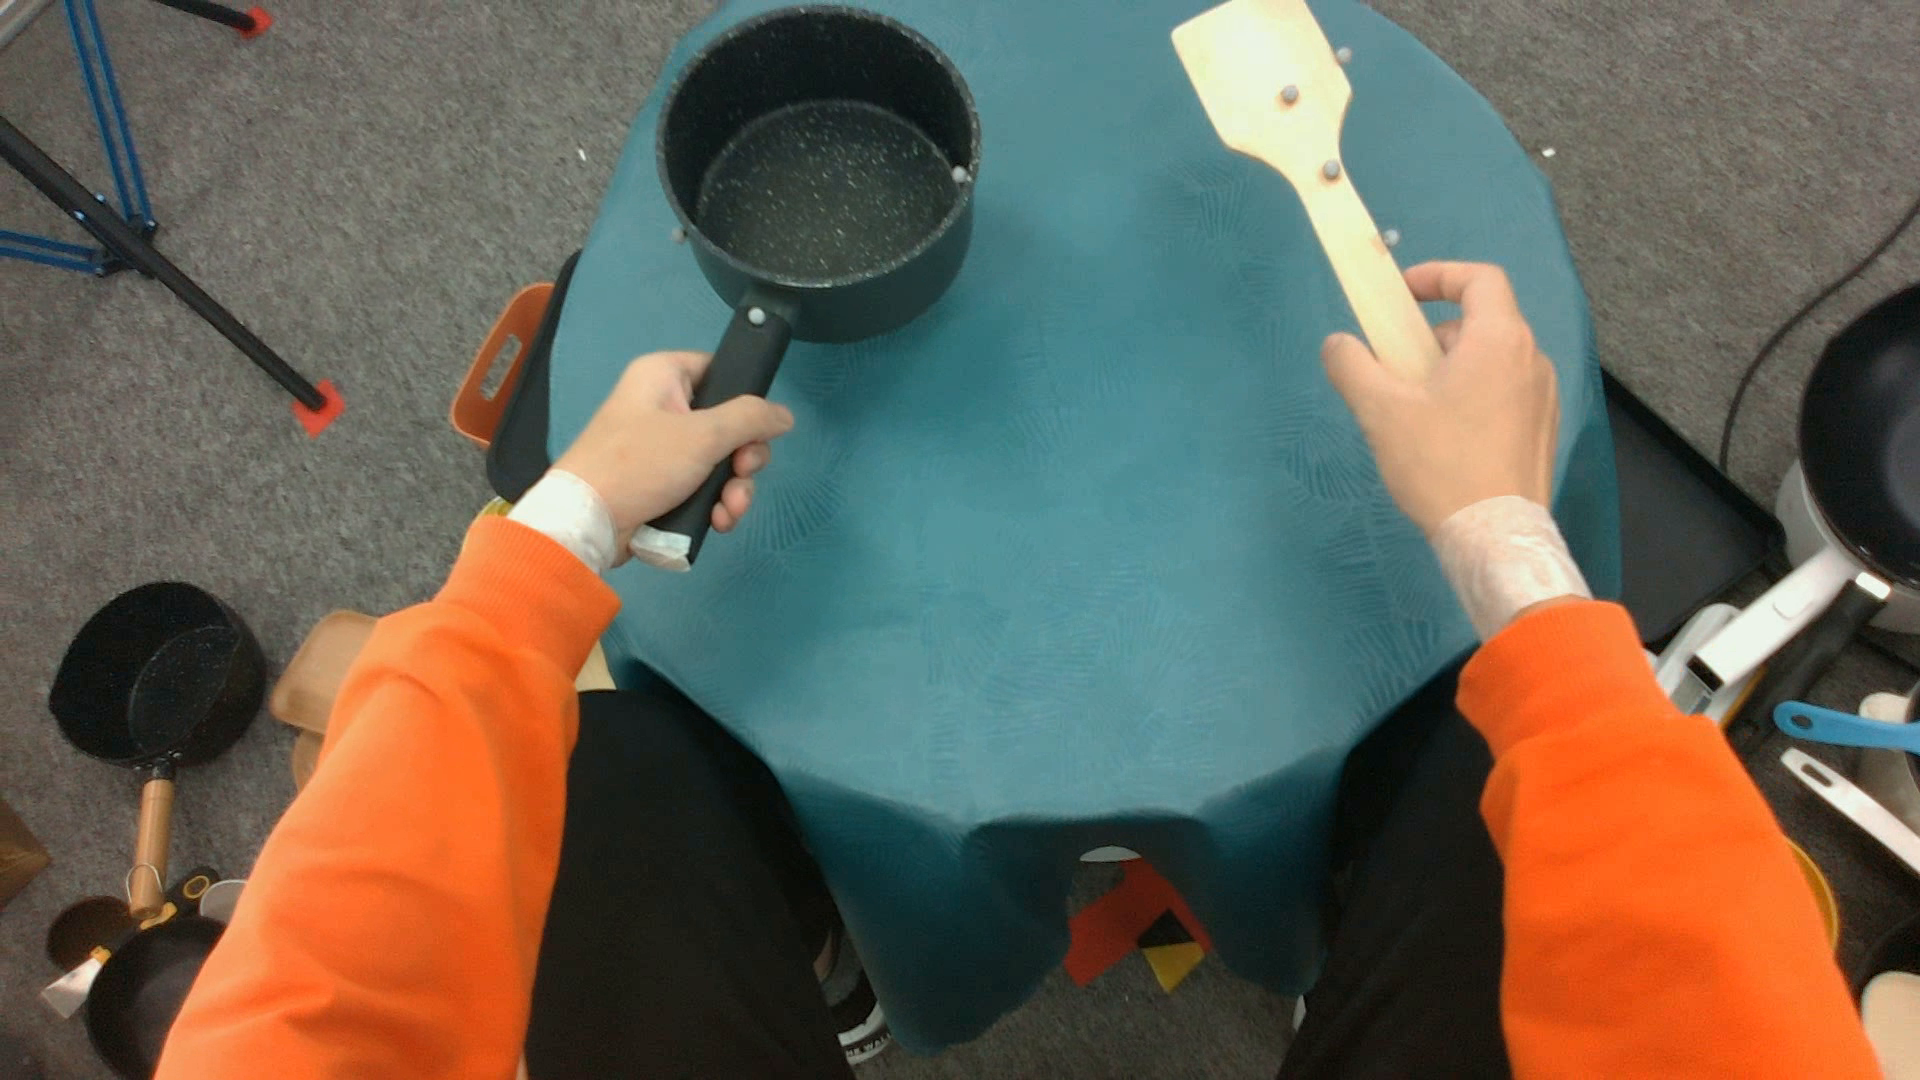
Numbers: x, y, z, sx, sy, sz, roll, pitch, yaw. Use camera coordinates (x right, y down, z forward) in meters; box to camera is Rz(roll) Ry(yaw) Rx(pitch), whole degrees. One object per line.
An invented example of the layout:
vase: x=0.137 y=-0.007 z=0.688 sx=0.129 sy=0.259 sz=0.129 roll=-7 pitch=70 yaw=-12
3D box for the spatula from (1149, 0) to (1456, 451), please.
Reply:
spatula: x=0.173 y=-0.168 z=0.679 sx=0.072 sy=0.010 sz=0.294 roll=-20 pitch=64 yaw=5

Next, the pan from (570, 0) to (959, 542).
pan: x=-0.112 y=-0.136 z=0.729 sx=0.172 sy=0.086 sz=0.330 roll=18 pitch=69 yaw=6
